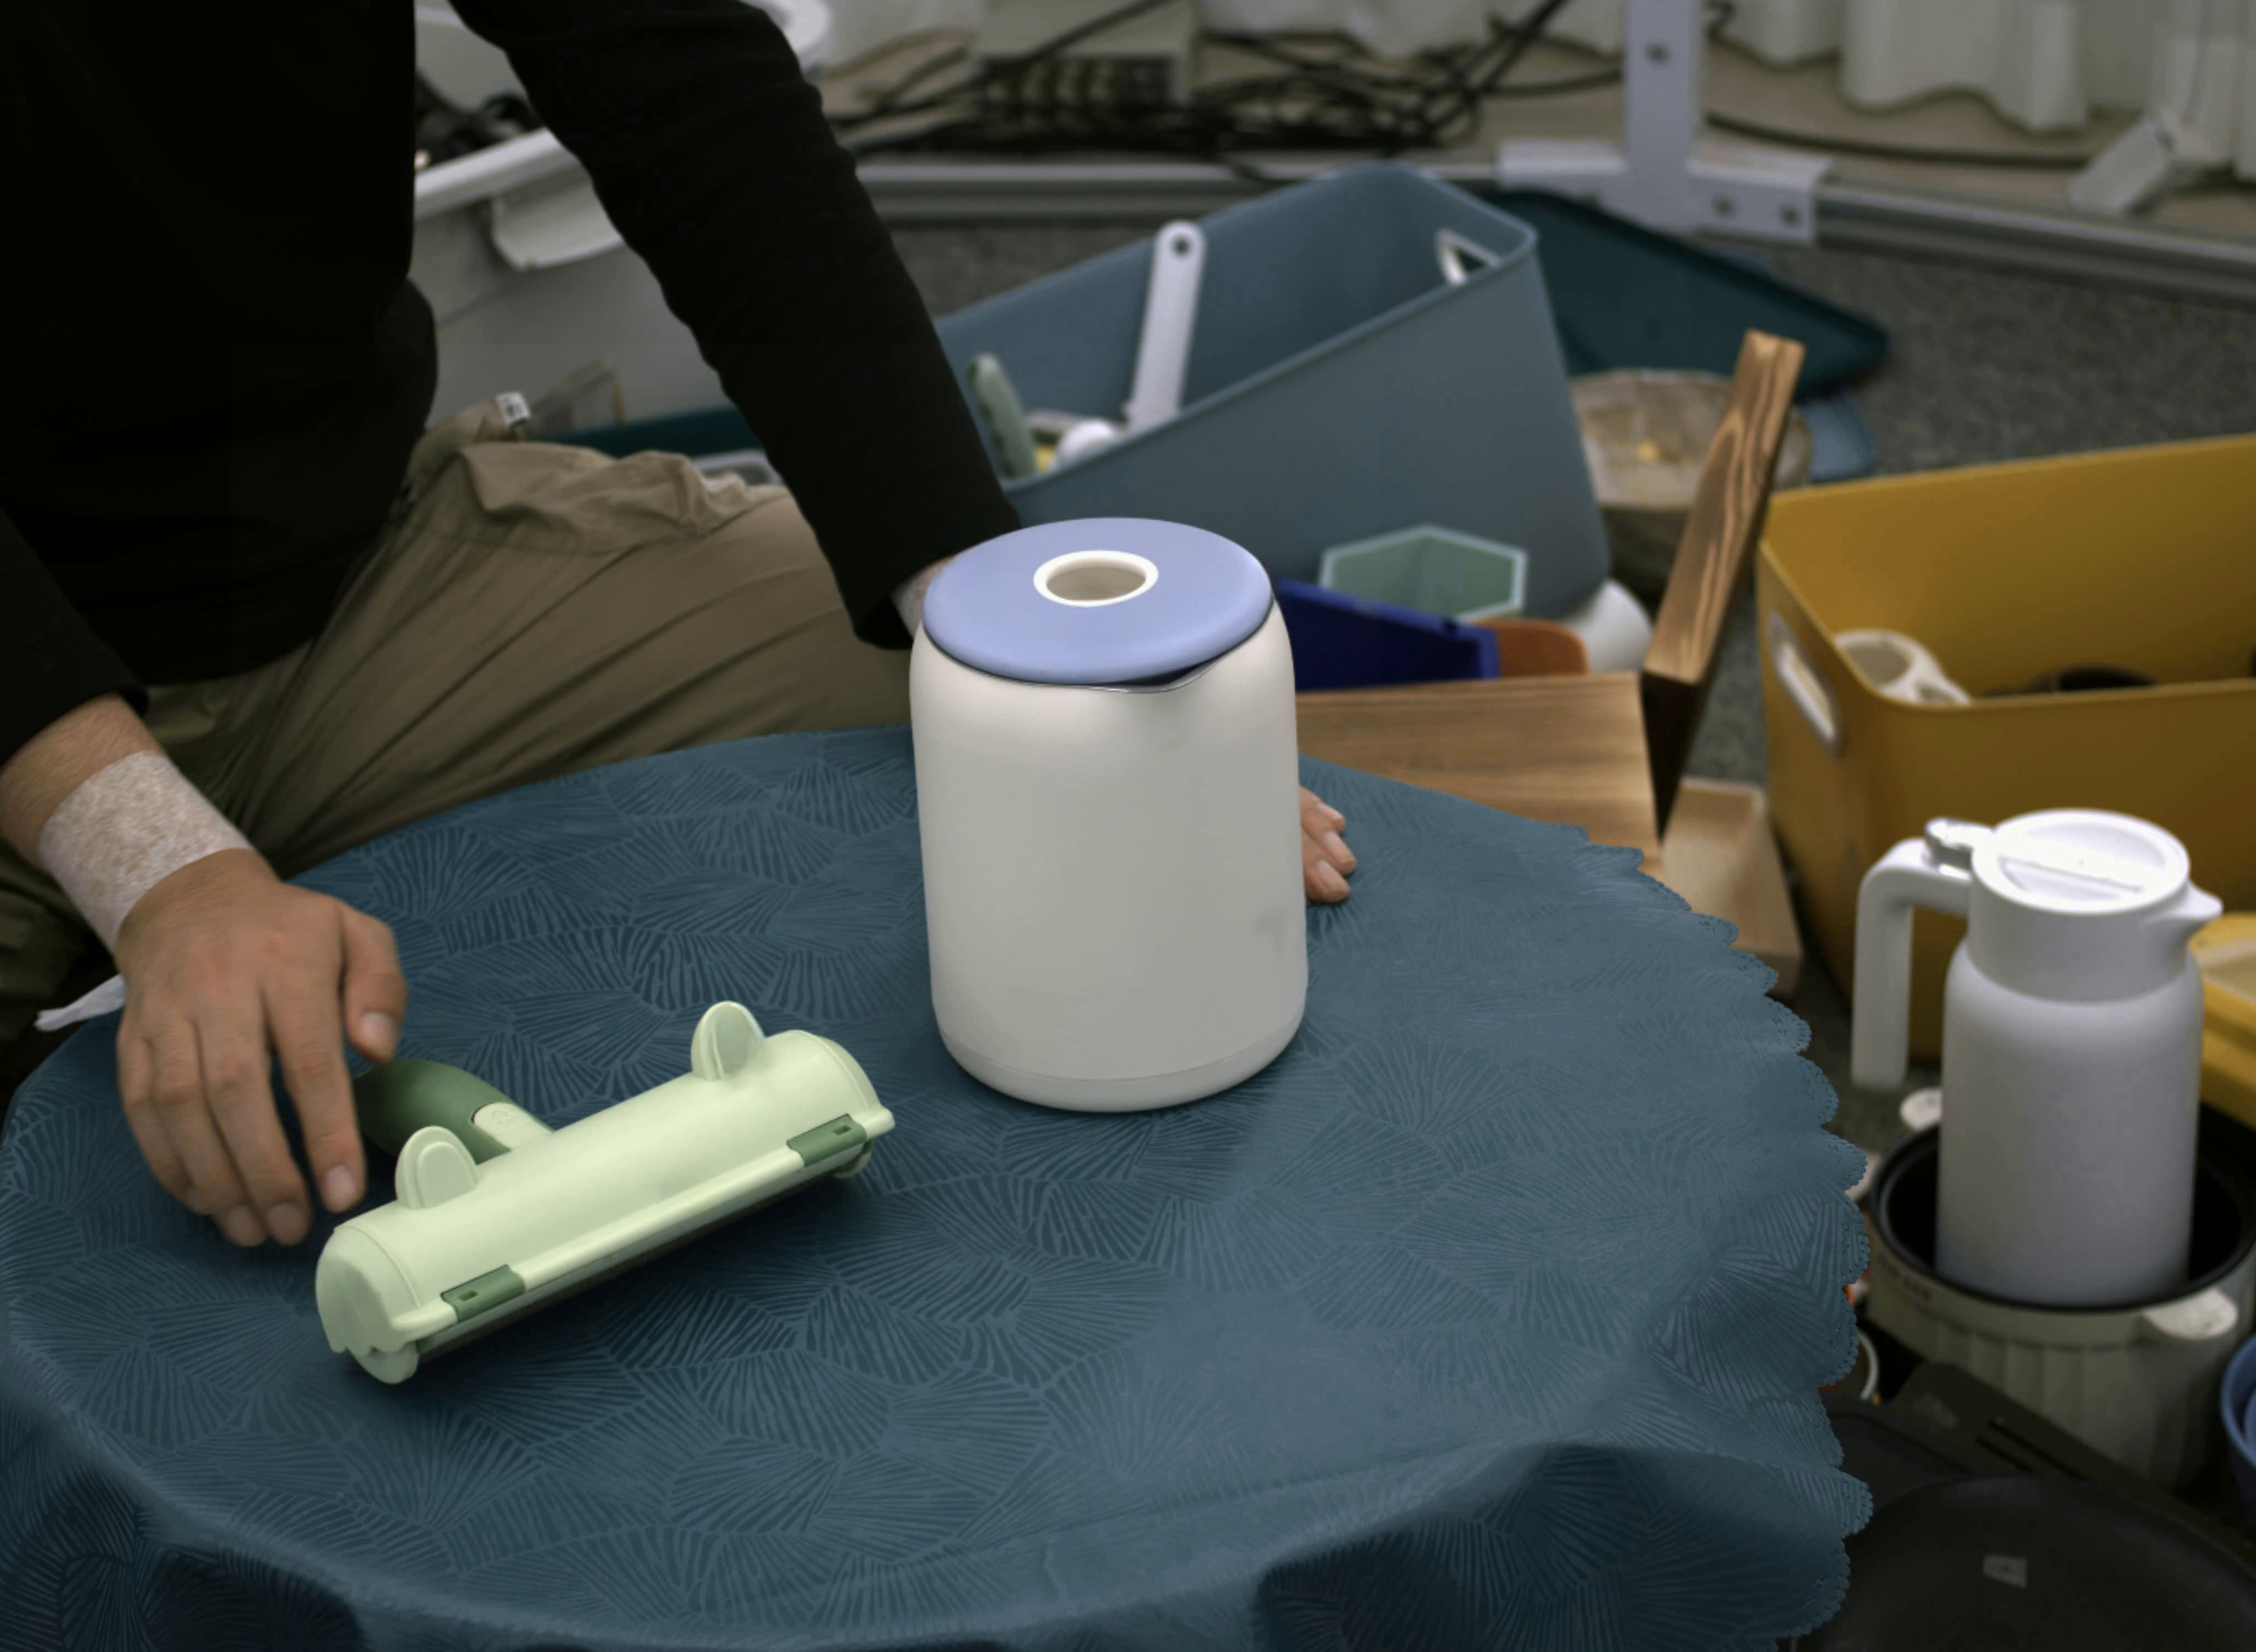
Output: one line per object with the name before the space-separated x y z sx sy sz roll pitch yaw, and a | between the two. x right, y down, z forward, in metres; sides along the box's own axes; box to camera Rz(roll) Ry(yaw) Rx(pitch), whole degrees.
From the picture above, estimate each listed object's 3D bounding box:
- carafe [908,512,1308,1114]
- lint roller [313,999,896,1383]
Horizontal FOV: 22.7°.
carafe | -0.016 -0.015 1.942 0.132 0.181 0.192 -12 26 -19
lint roller | -0.204 0.096 1.849 0.200 0.081 0.183 -22 35 -35
